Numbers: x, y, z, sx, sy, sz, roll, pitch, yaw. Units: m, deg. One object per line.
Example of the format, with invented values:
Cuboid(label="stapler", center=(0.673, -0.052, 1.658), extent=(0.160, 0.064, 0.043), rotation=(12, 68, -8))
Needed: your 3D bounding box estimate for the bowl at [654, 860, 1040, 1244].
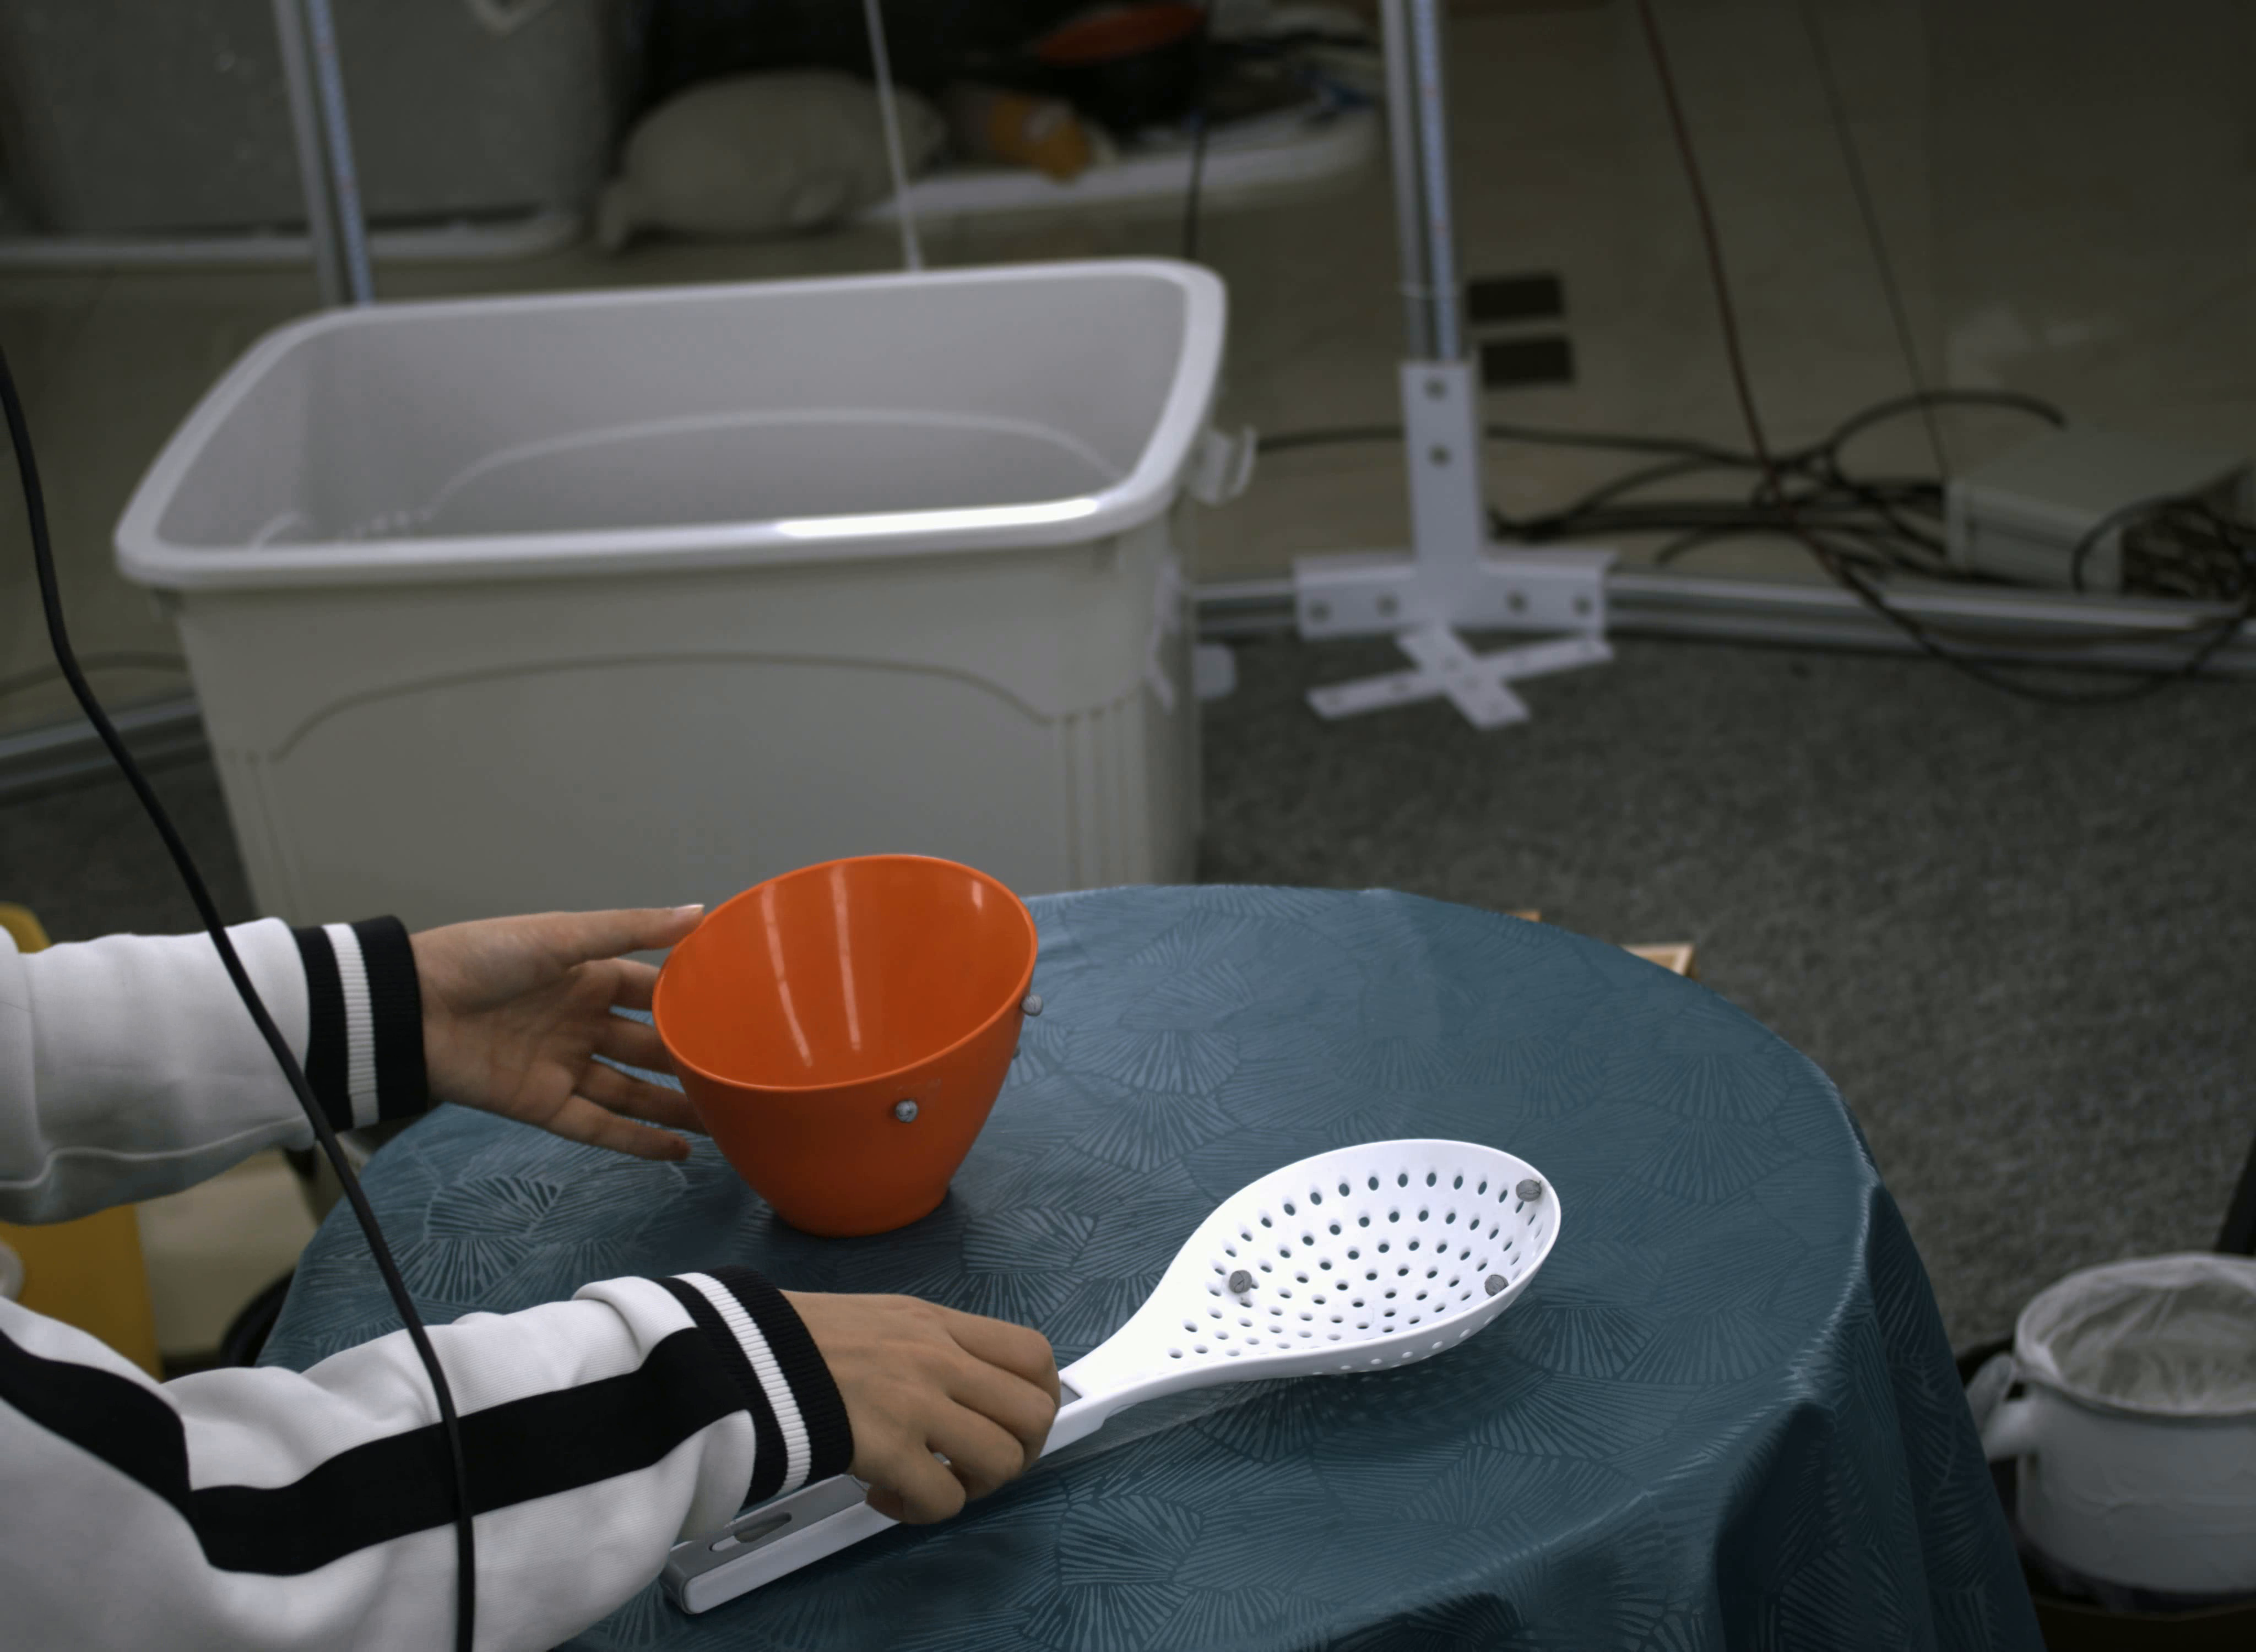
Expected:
Cuboid(label="bowl", center=(-0.103, 0.092, 2.154), extent=(0.148, 0.106, 0.146), rotation=(-4, 27, 2))

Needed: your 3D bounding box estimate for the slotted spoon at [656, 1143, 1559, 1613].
Cuboid(label="slotted spoon", center=(-0.005, 0.194, 1.978), extent=(0.348, 0.046, 0.134), rotation=(-19, 26, -23))
